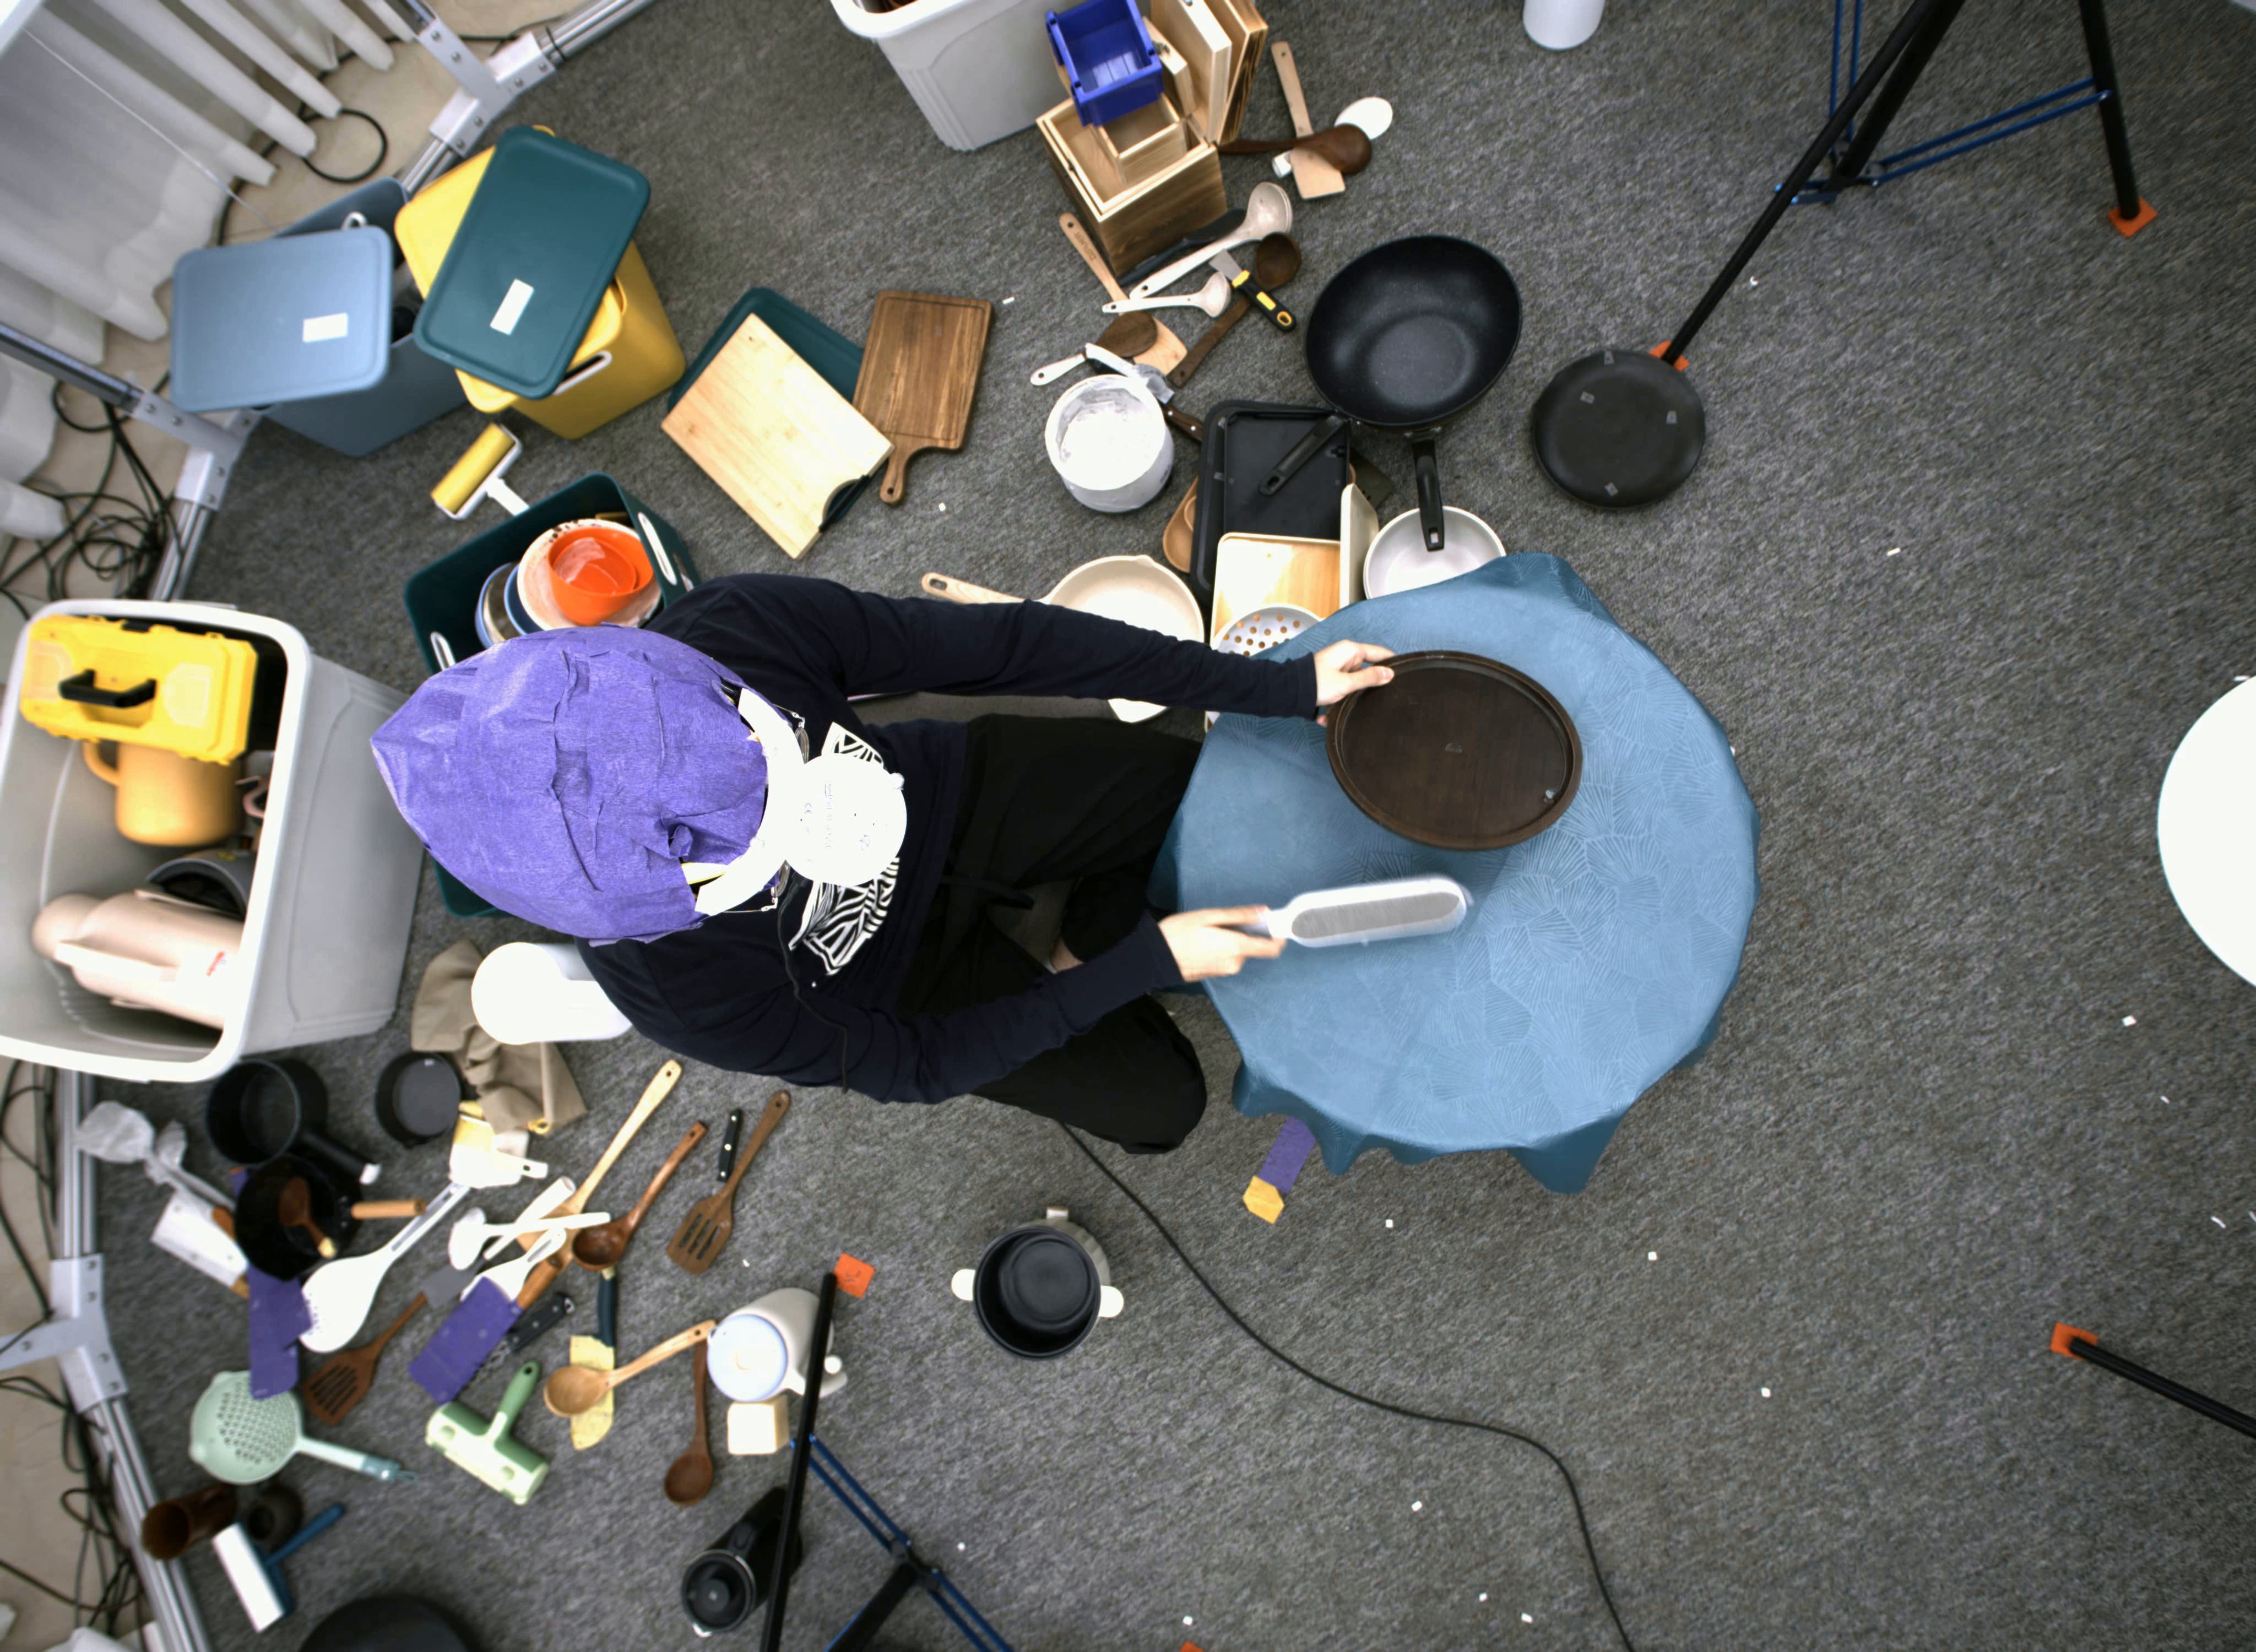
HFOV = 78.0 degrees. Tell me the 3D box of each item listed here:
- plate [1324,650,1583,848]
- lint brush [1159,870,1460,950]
[{"bbox_3d":[0.320,-0.080,1.355,0.255,0.030,0.248,-1,52,1],"label":"plate"},{"bbox_3d":[0.183,0.088,1.405,0.310,0.061,0.020,-10,43,5],"label":"lint brush"}]
